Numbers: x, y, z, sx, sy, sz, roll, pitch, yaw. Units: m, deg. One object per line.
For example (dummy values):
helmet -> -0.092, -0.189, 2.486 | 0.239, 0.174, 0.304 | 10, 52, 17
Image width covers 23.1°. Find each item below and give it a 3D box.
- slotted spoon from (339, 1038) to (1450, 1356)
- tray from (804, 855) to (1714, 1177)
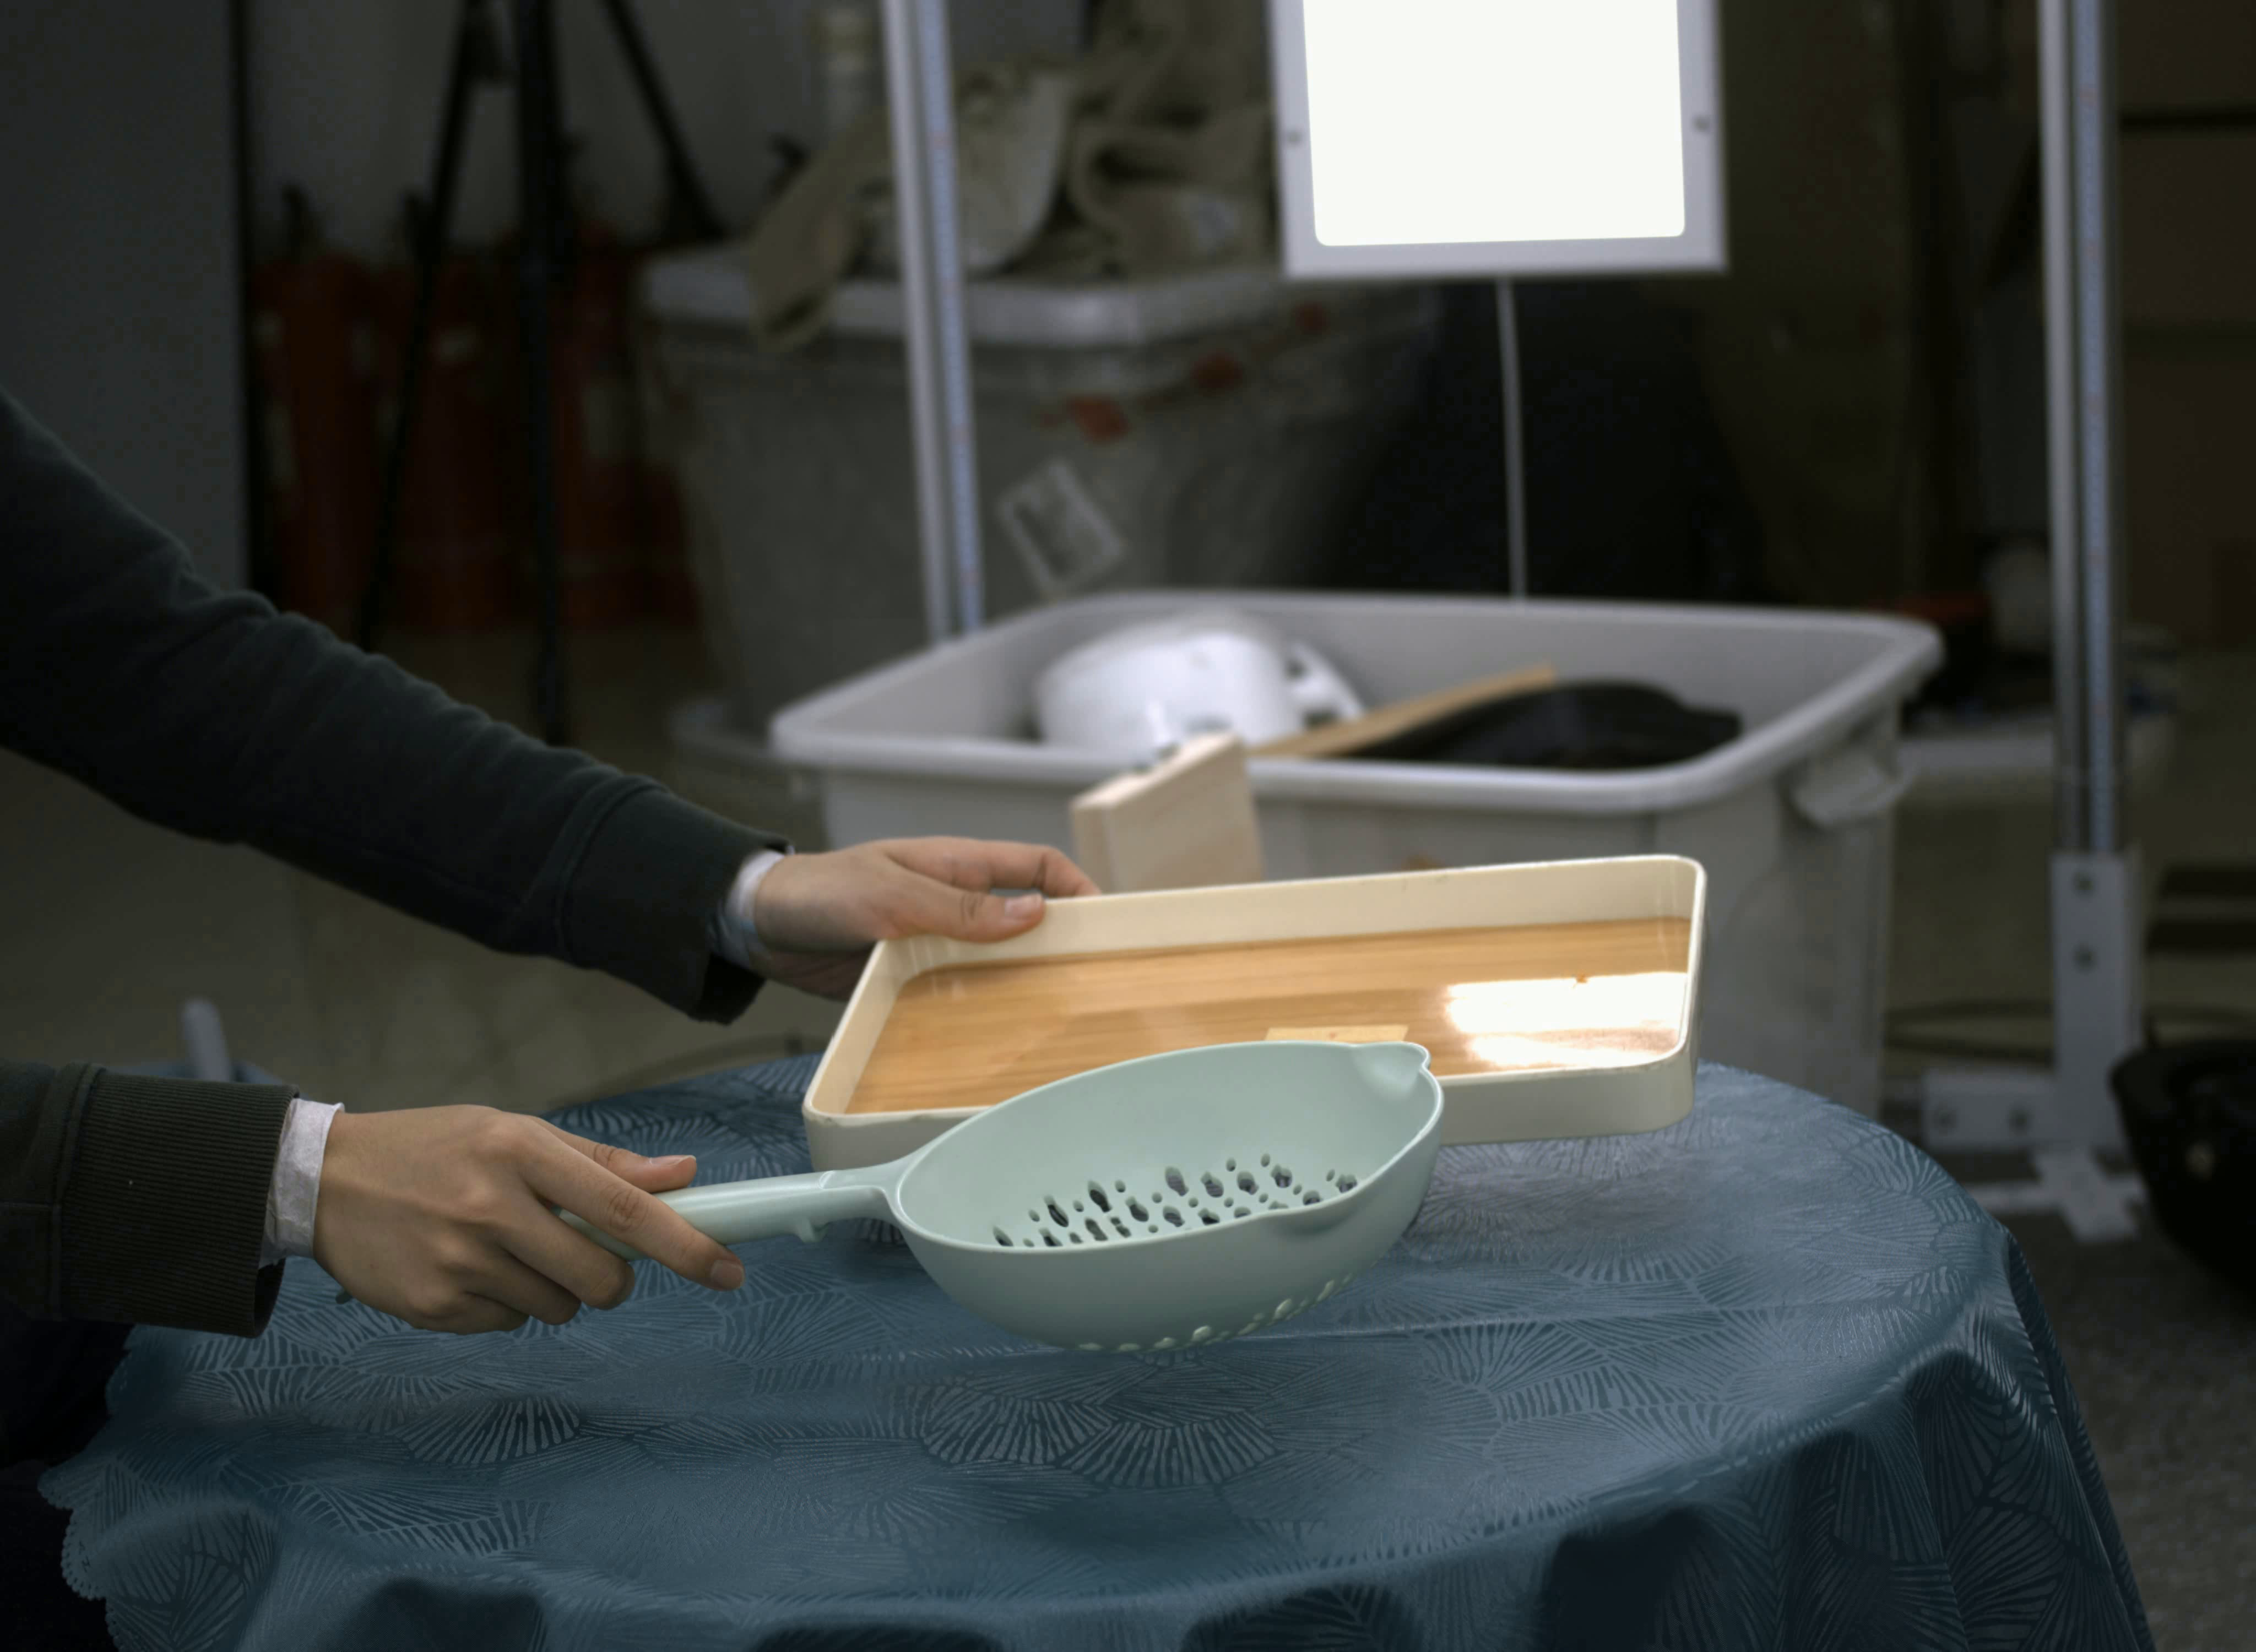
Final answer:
slotted spoon -> -0.078, 0.117, 1.692 | 0.362, 0.076, 0.167 | 2, 18, 16
tray -> 0.049, 0.065, 1.894 | 0.302, 0.027, 0.189 | -4, 20, 12
